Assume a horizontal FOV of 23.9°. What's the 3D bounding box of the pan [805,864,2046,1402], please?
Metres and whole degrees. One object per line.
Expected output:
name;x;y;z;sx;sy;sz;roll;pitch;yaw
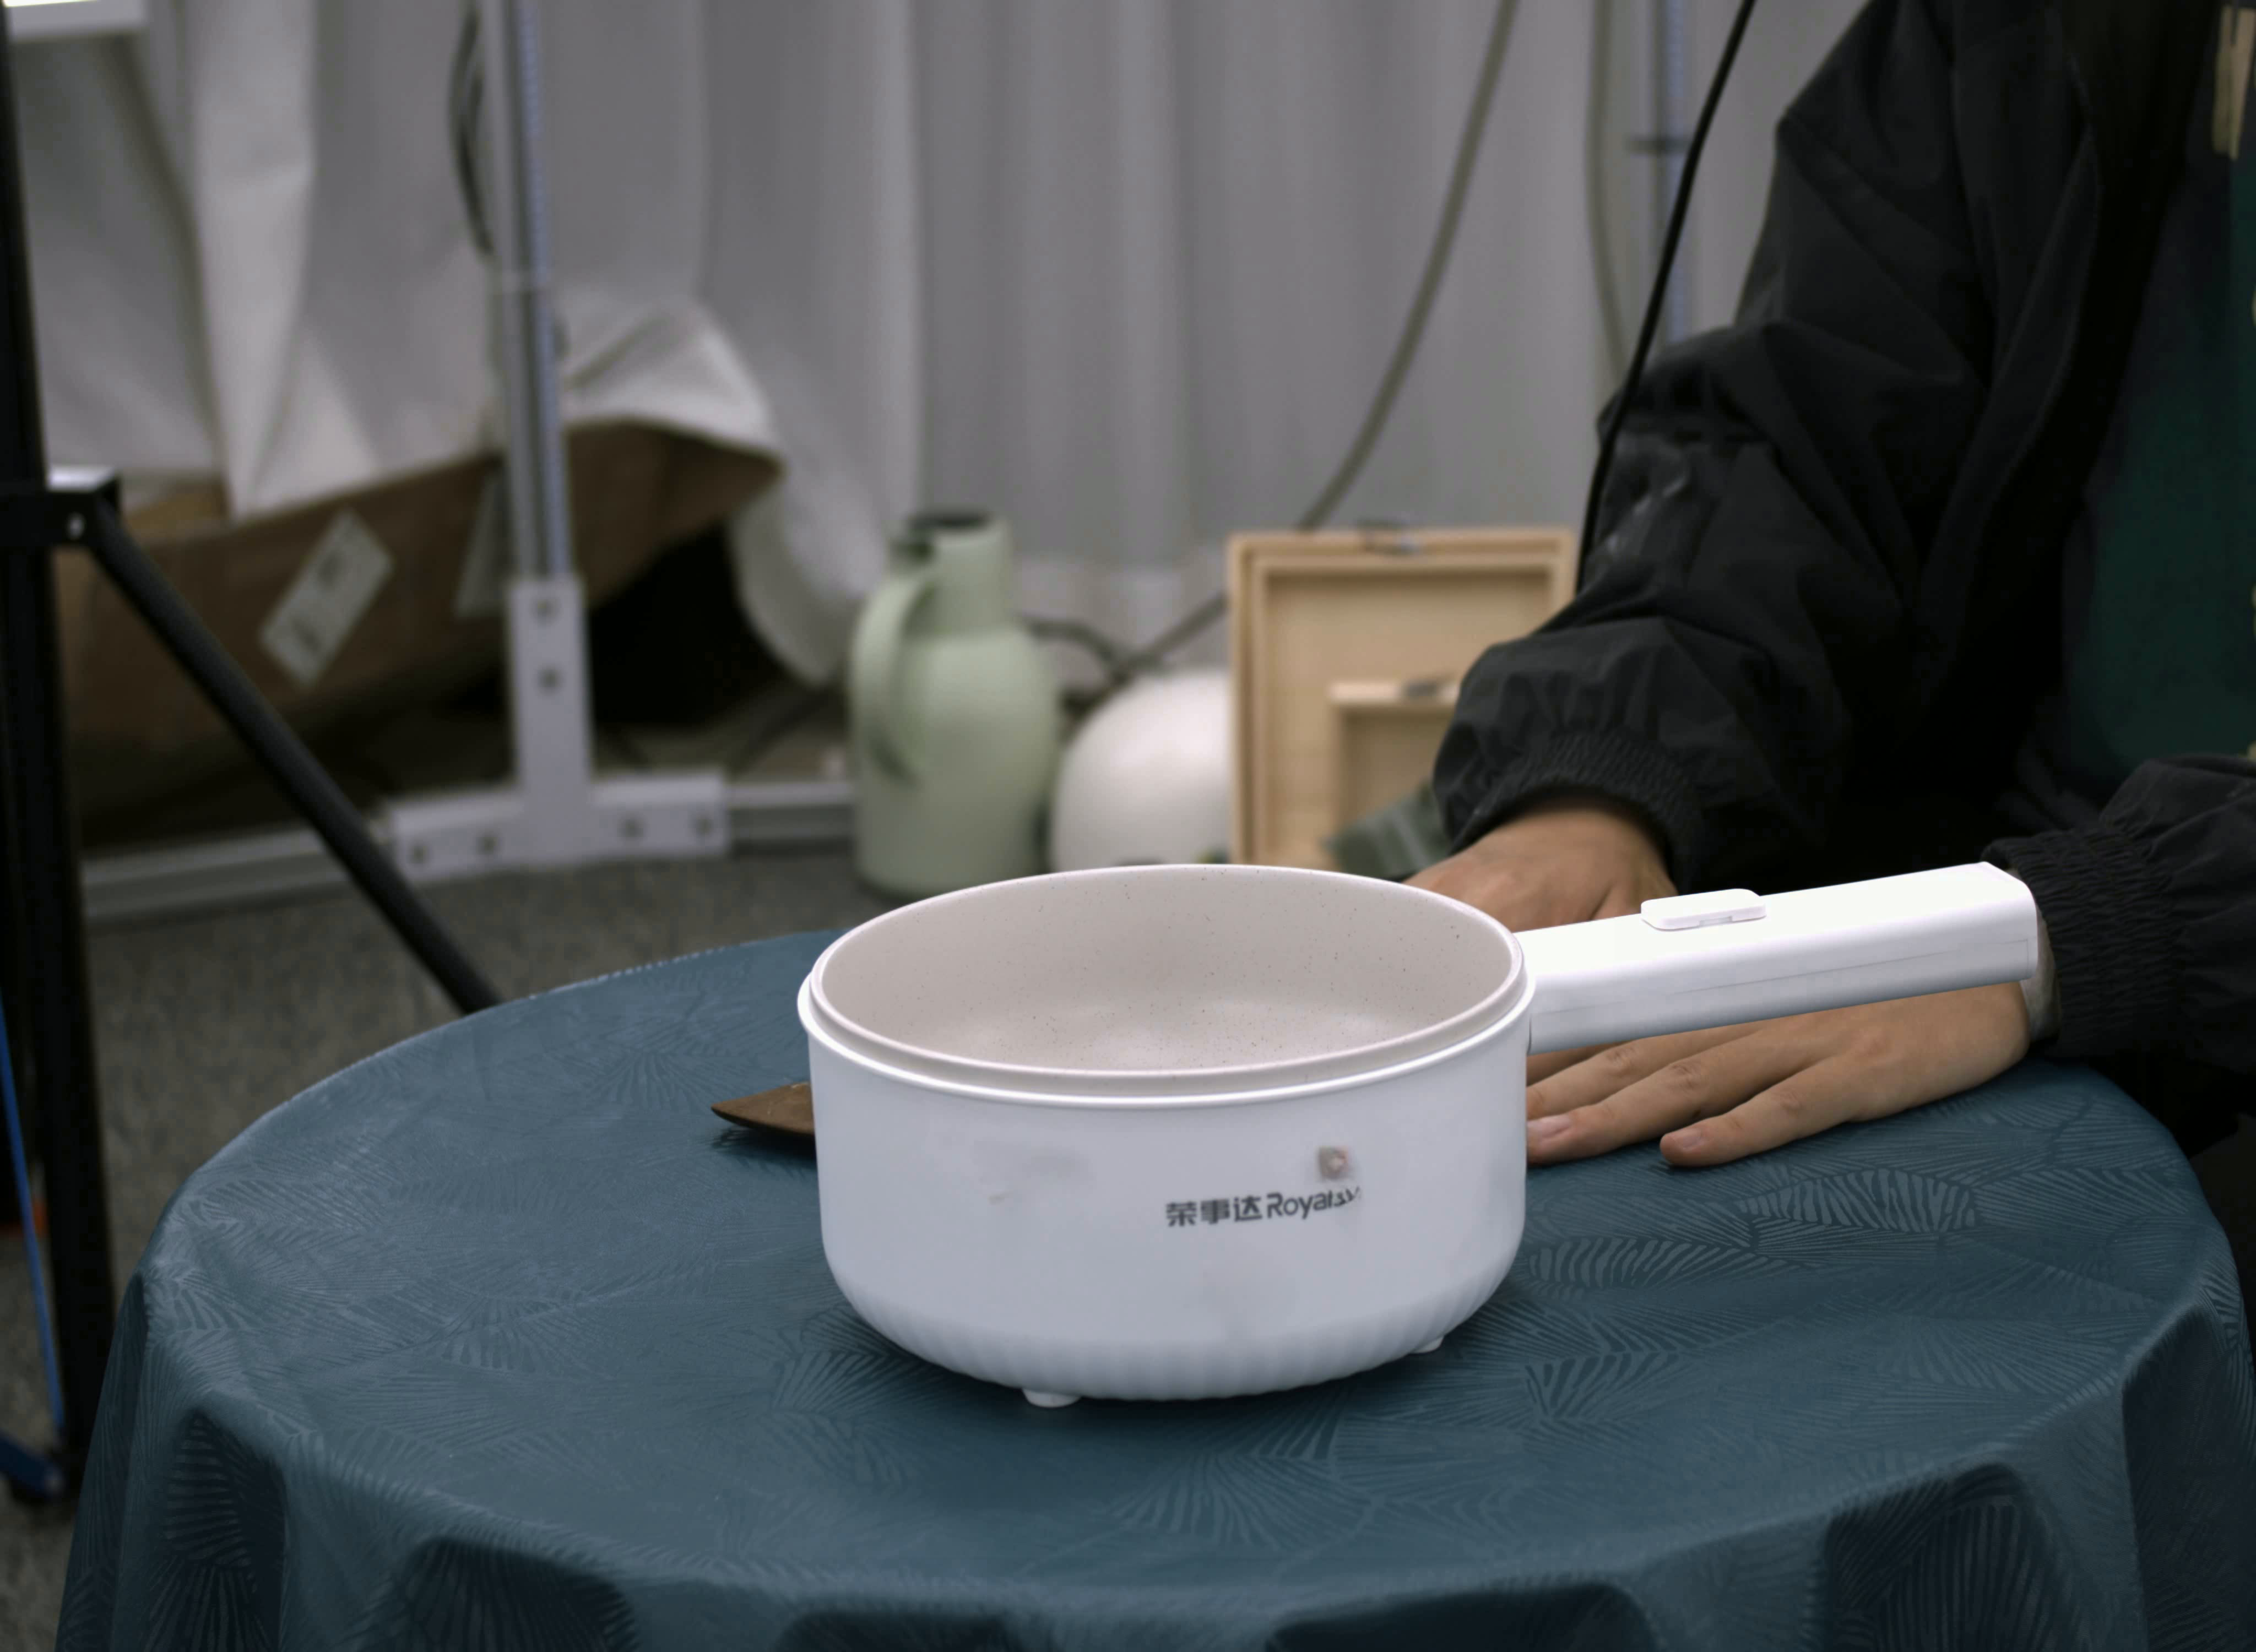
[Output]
pan;0.086;0.079;1.472;0.349;0.102;0.204;-5;15;-15

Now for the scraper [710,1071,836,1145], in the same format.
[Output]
scraper;-0.045;0.071;1.684;0.077;0.011;0.207;9;19;32
